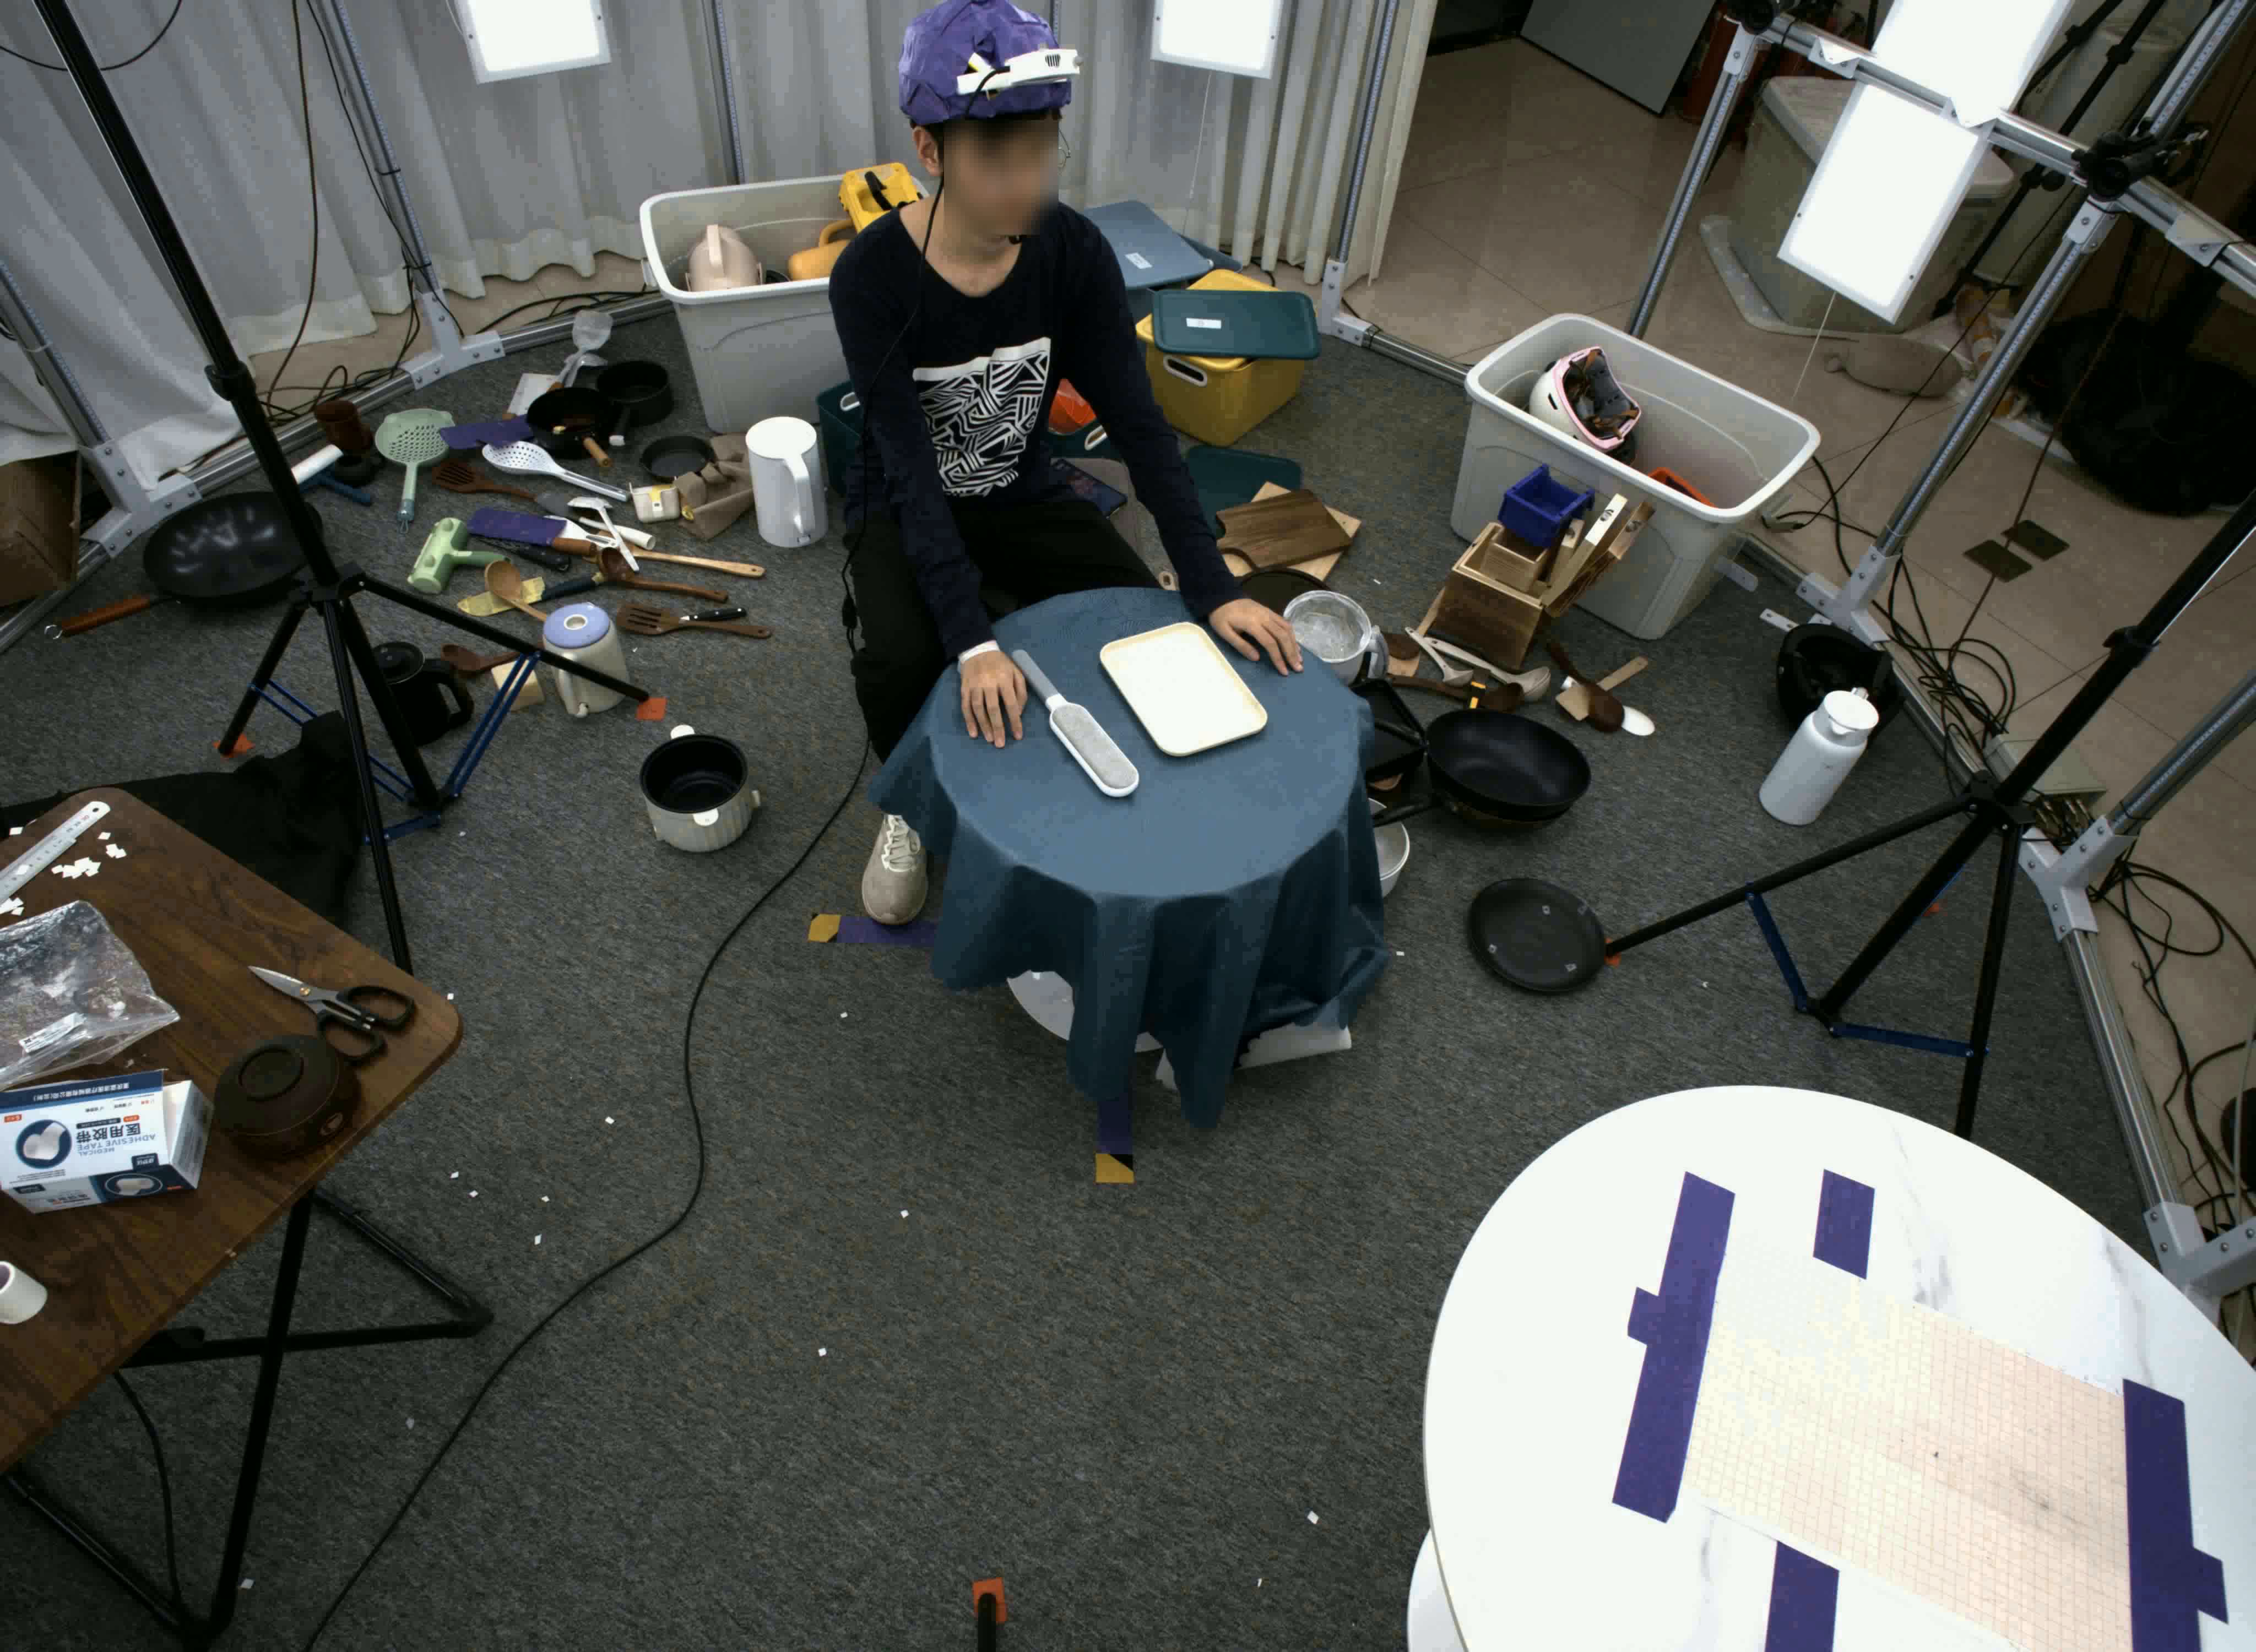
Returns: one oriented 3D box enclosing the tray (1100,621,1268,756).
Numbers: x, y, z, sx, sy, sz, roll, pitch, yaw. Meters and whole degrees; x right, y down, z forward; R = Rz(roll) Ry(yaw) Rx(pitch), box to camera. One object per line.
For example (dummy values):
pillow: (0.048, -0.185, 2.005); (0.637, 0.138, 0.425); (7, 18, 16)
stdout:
tray: (0.078, -0.198, 1.833); (0.171, 0.017, 0.245); (-19, 53, -18)

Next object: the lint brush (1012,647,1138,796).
lint brush: (-0.079, -0.150, 1.774); (0.060, 0.020, 0.315); (-26, 55, -18)
